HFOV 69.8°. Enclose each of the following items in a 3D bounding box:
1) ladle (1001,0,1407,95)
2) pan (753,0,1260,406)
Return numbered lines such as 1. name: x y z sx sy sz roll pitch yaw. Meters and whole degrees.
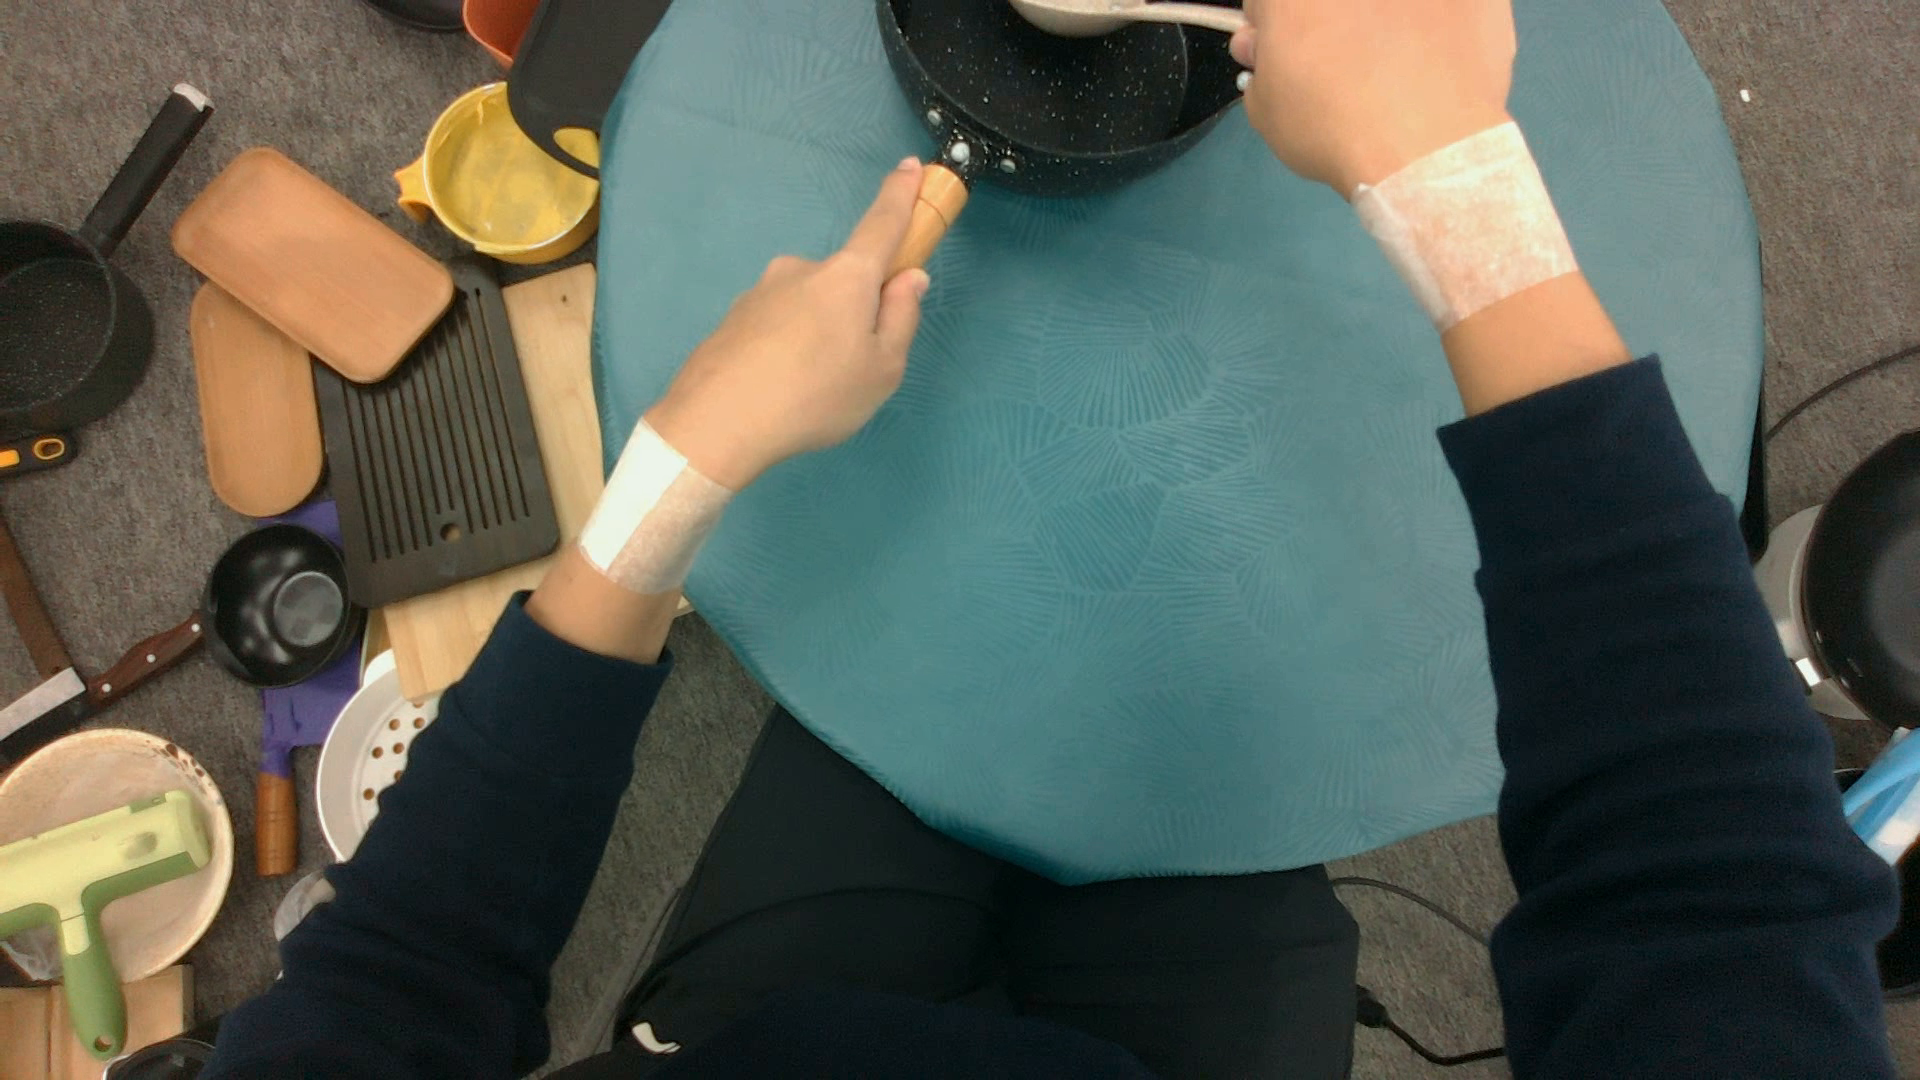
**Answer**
1. ladle: 0.098 -0.248 0.597 0.089 0.275 0.069 -12 119 -24
2. pan: 0.006 -0.192 0.638 0.207 0.108 0.343 30 76 -2
